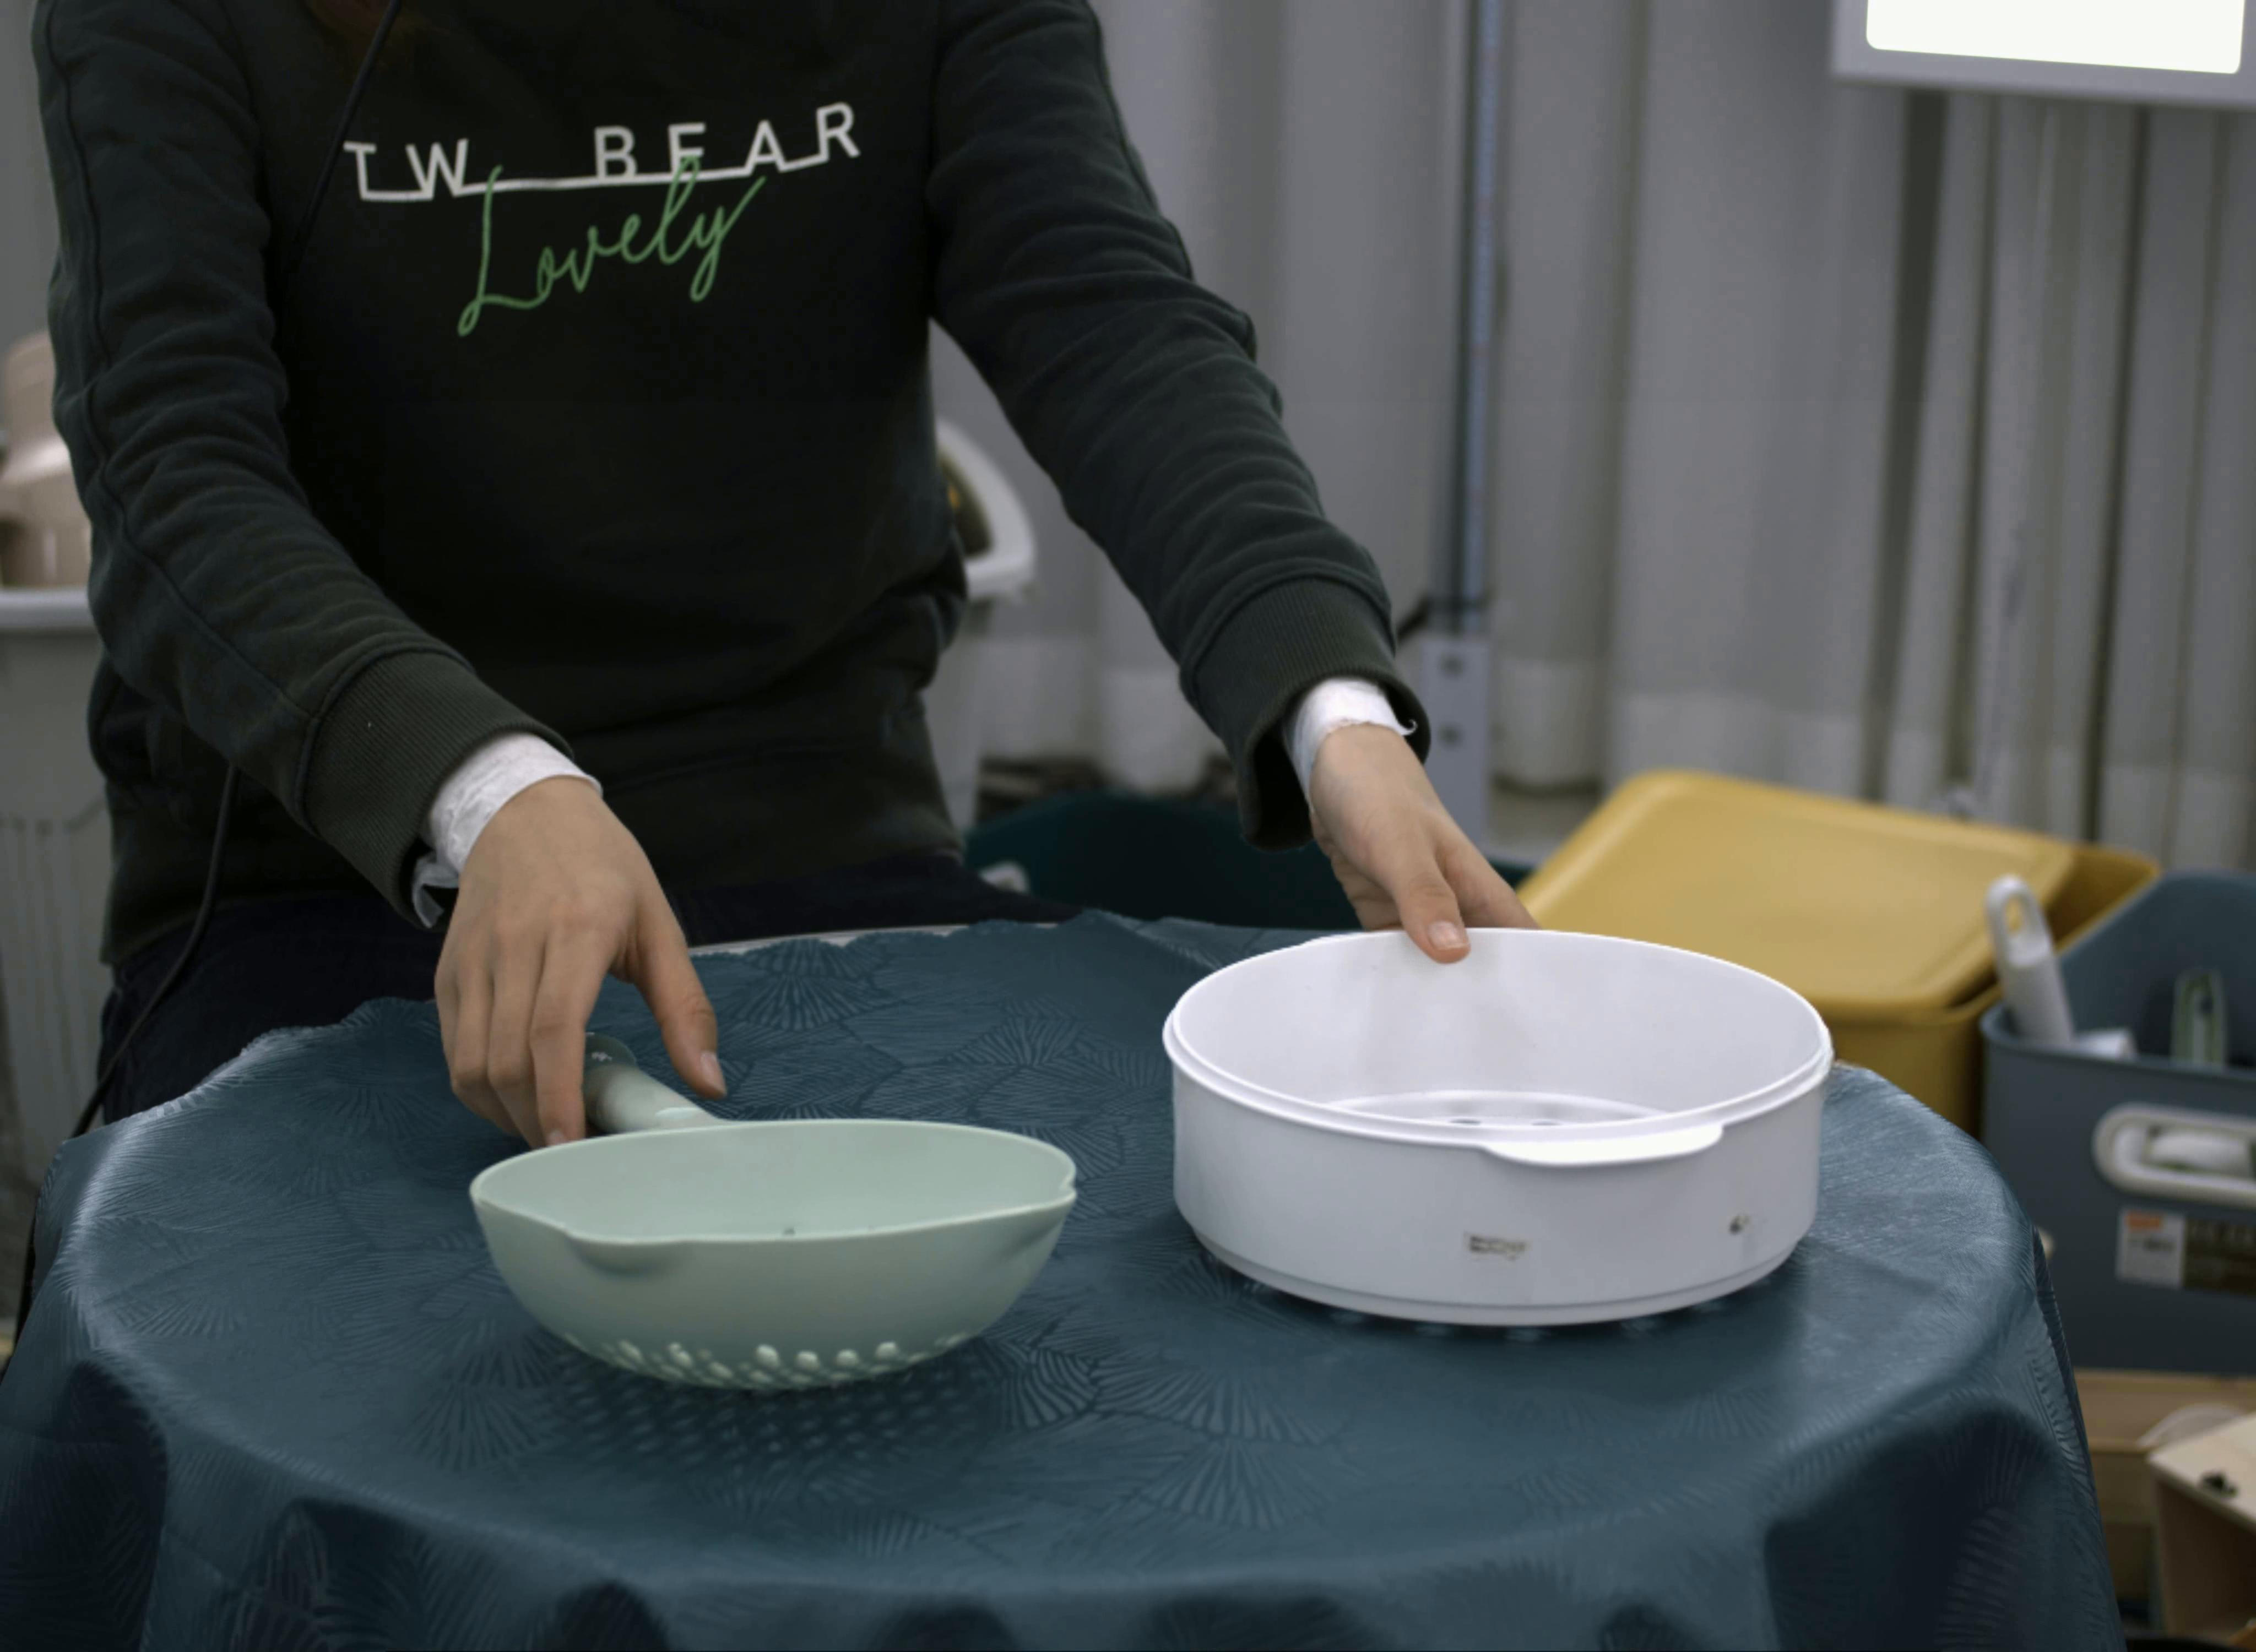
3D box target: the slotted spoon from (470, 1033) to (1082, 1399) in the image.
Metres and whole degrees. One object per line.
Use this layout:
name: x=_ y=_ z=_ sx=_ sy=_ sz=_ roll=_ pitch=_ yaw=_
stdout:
slotted spoon: x=-0.128 y=0.098 z=1.553 sx=0.170 sy=0.076 sz=0.355 roll=-3 pitch=16 yaw=-18

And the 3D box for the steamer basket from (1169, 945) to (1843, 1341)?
steamer basket: x=0.112 y=0.094 z=1.580 sx=0.202 sy=0.070 sz=0.228 roll=-3 pitch=16 yaw=-16
